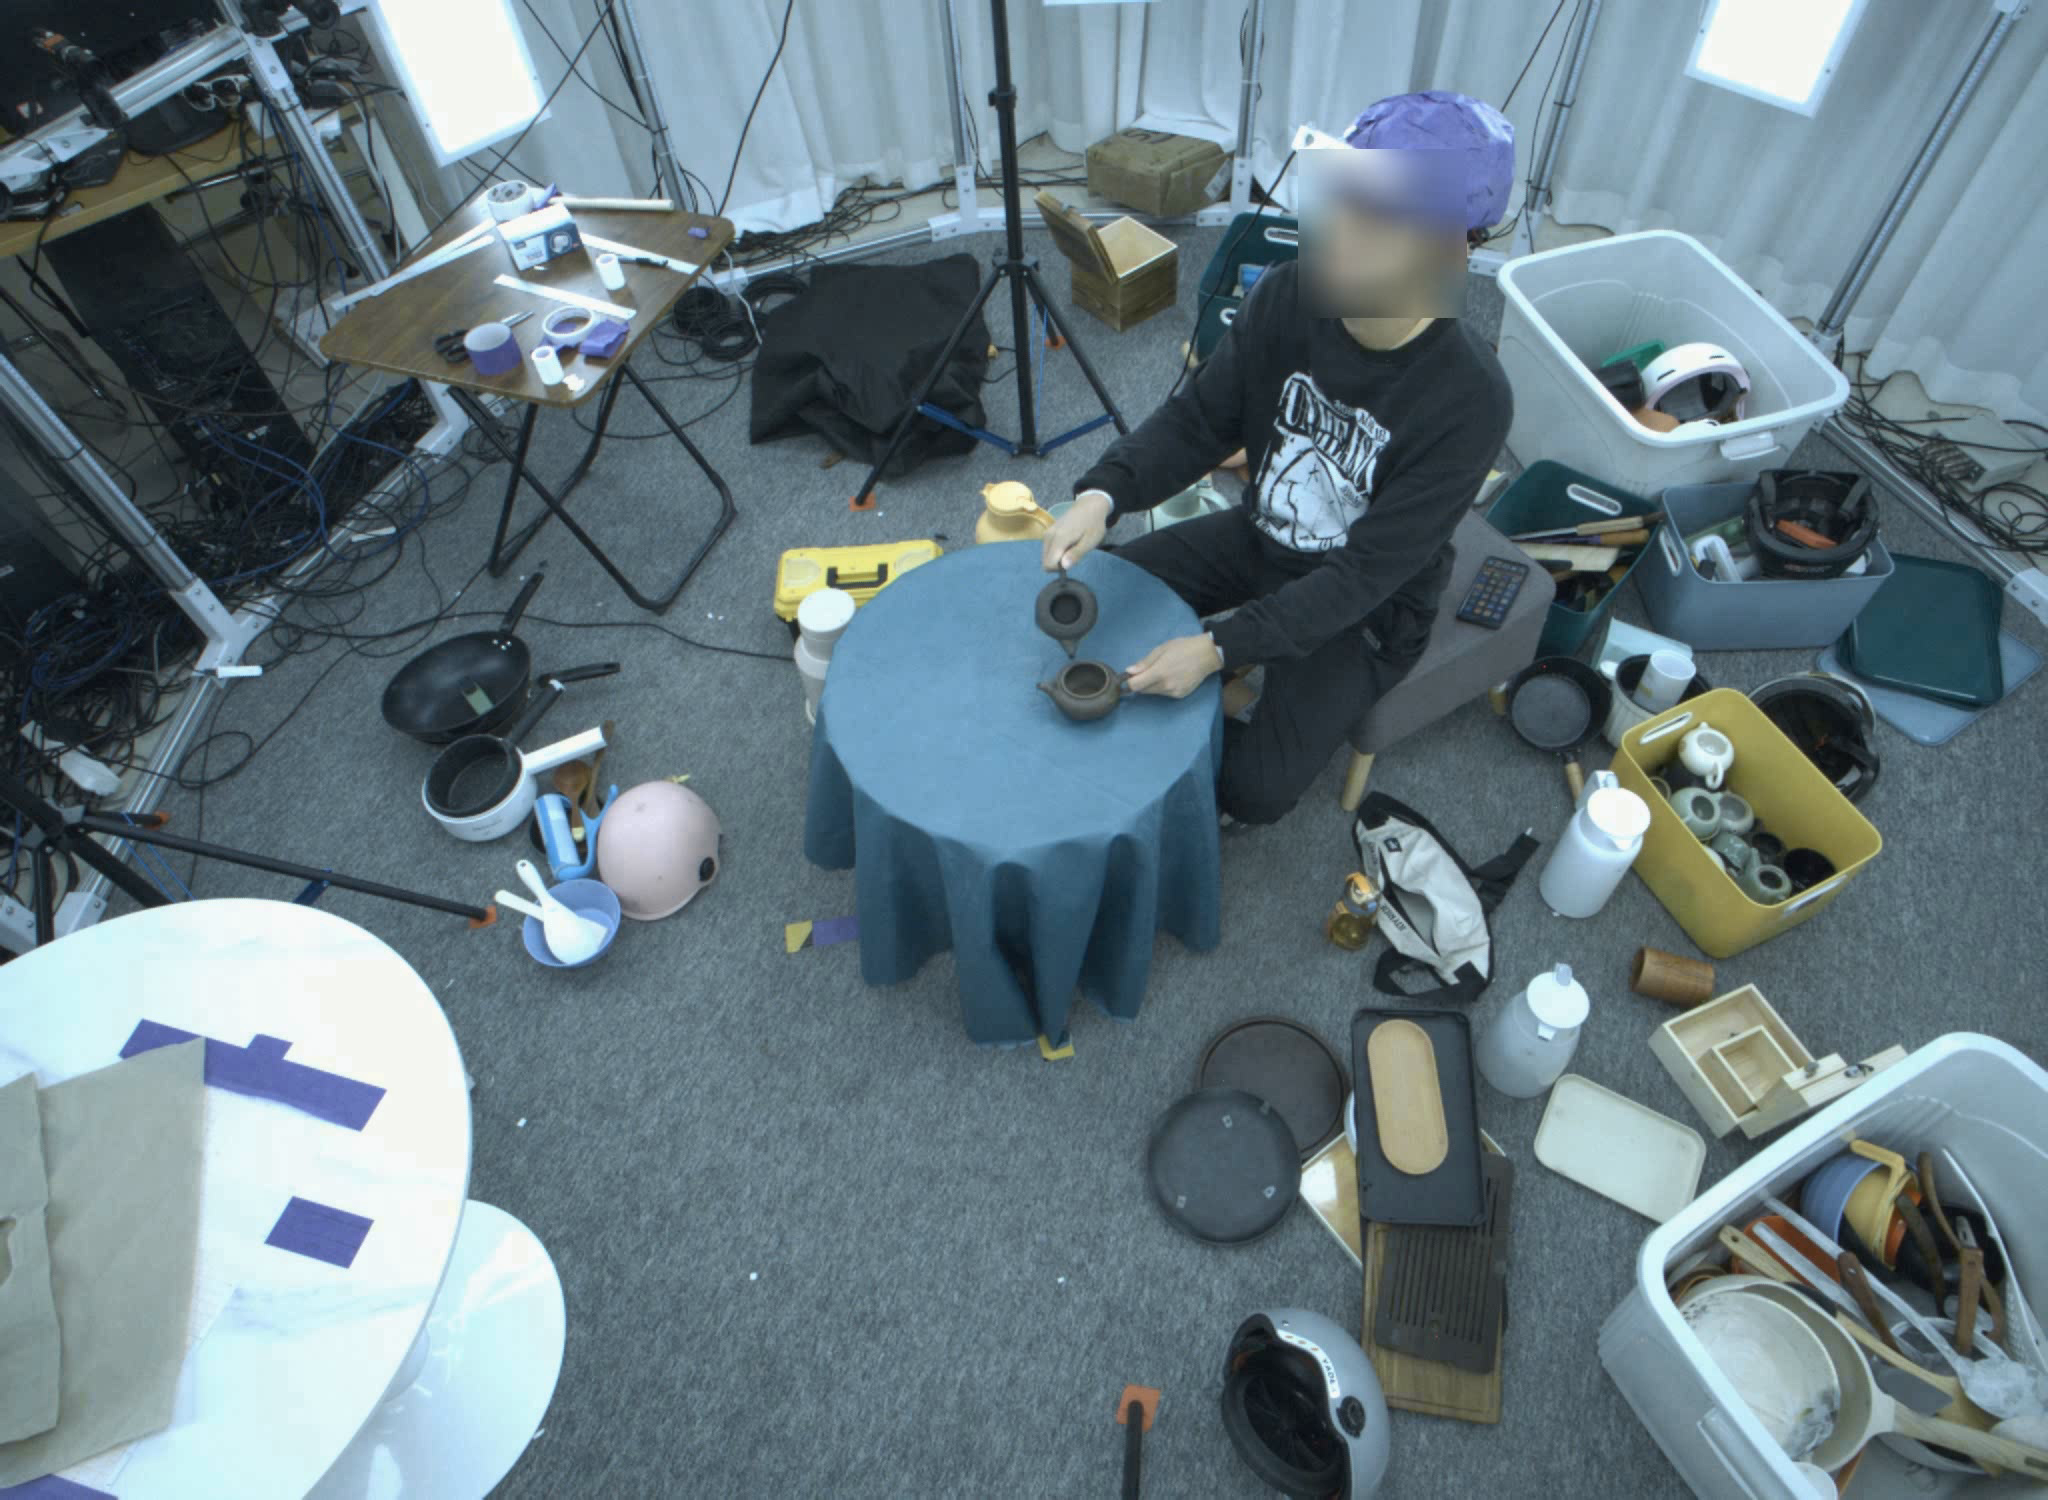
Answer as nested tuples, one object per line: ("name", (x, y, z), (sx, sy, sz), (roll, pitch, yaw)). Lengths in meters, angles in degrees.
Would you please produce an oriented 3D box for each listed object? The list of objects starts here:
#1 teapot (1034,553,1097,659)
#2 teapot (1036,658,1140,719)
("teapot", (0.059, -0.209, 1.787), (0.092, 0.064, 0.154), (-5, 96, -3))
("teapot", (0.095, -0.093, 1.811), (0.154, 0.054, 0.101), (-13, 57, -4))
